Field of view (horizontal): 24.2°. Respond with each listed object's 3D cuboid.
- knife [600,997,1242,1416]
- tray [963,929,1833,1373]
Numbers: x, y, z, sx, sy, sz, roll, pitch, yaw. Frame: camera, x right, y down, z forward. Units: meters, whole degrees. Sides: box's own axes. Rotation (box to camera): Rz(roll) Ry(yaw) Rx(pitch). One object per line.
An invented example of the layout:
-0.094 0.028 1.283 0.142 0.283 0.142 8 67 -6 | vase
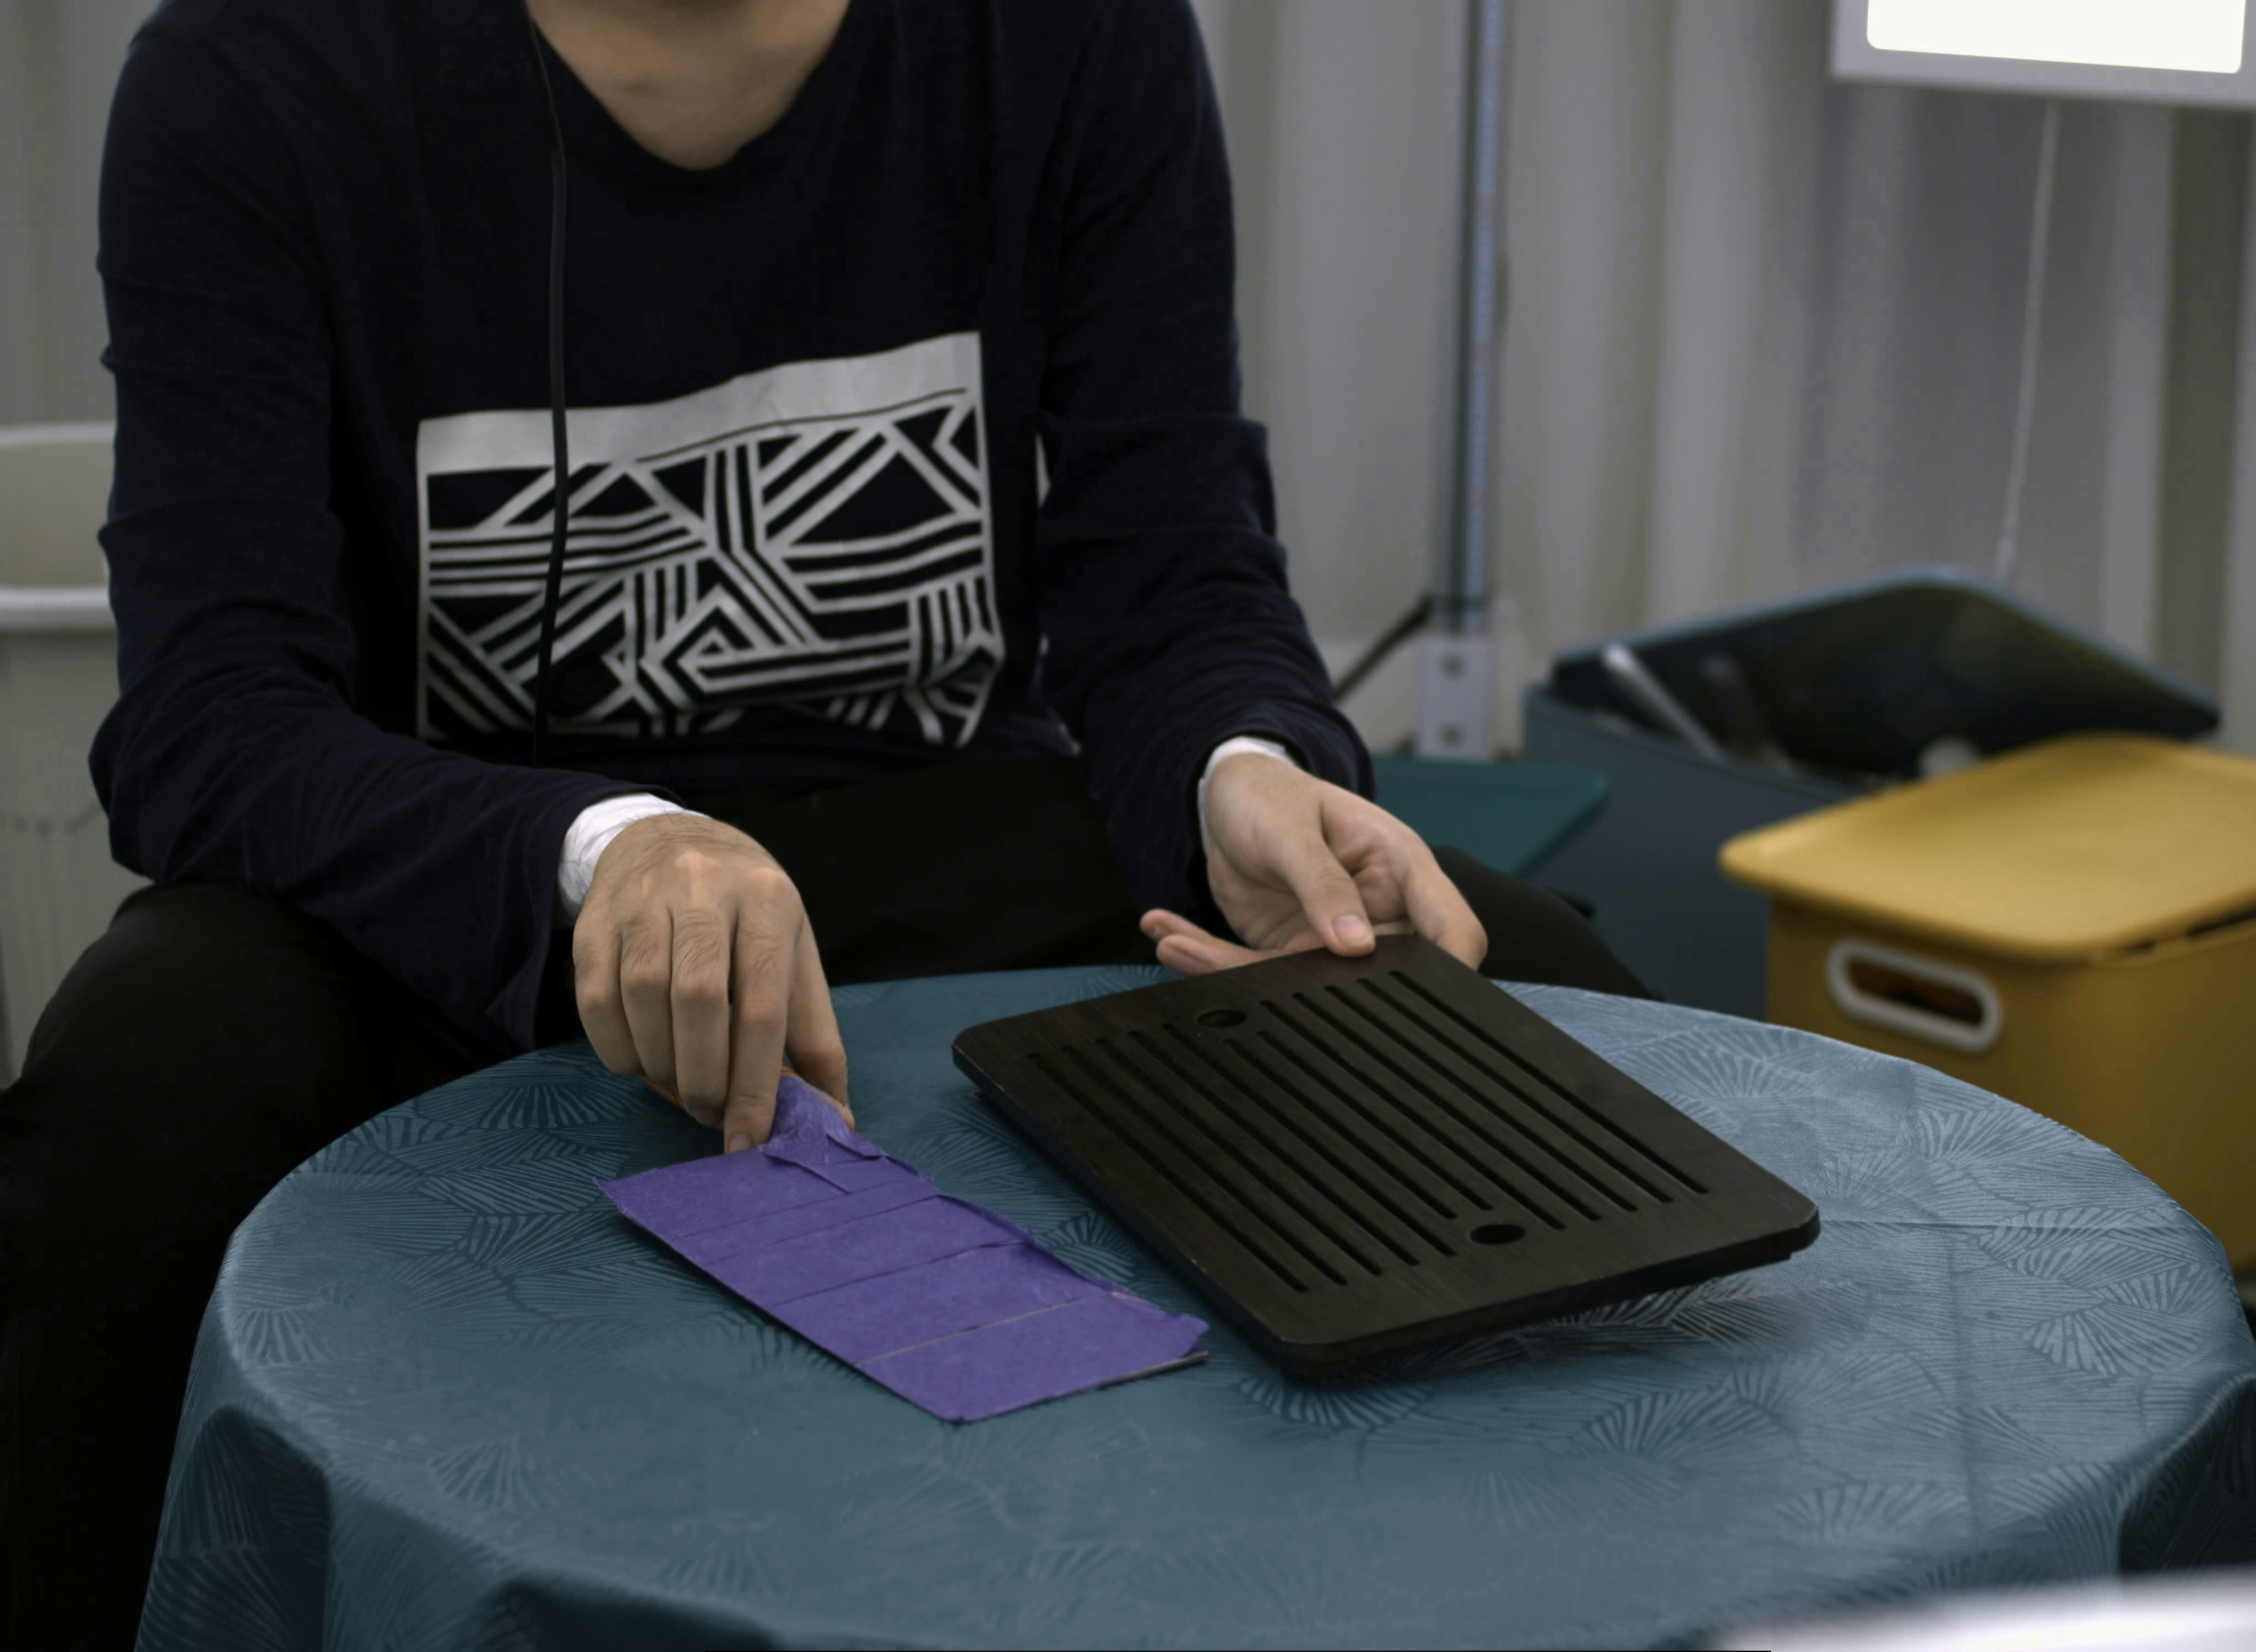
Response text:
-0.096 0.110 1.576 0.104 0.032 0.311 -10 19 -34 | knife
0.075 0.095 1.616 0.170 0.019 0.302 -13 19 -18 | tray
